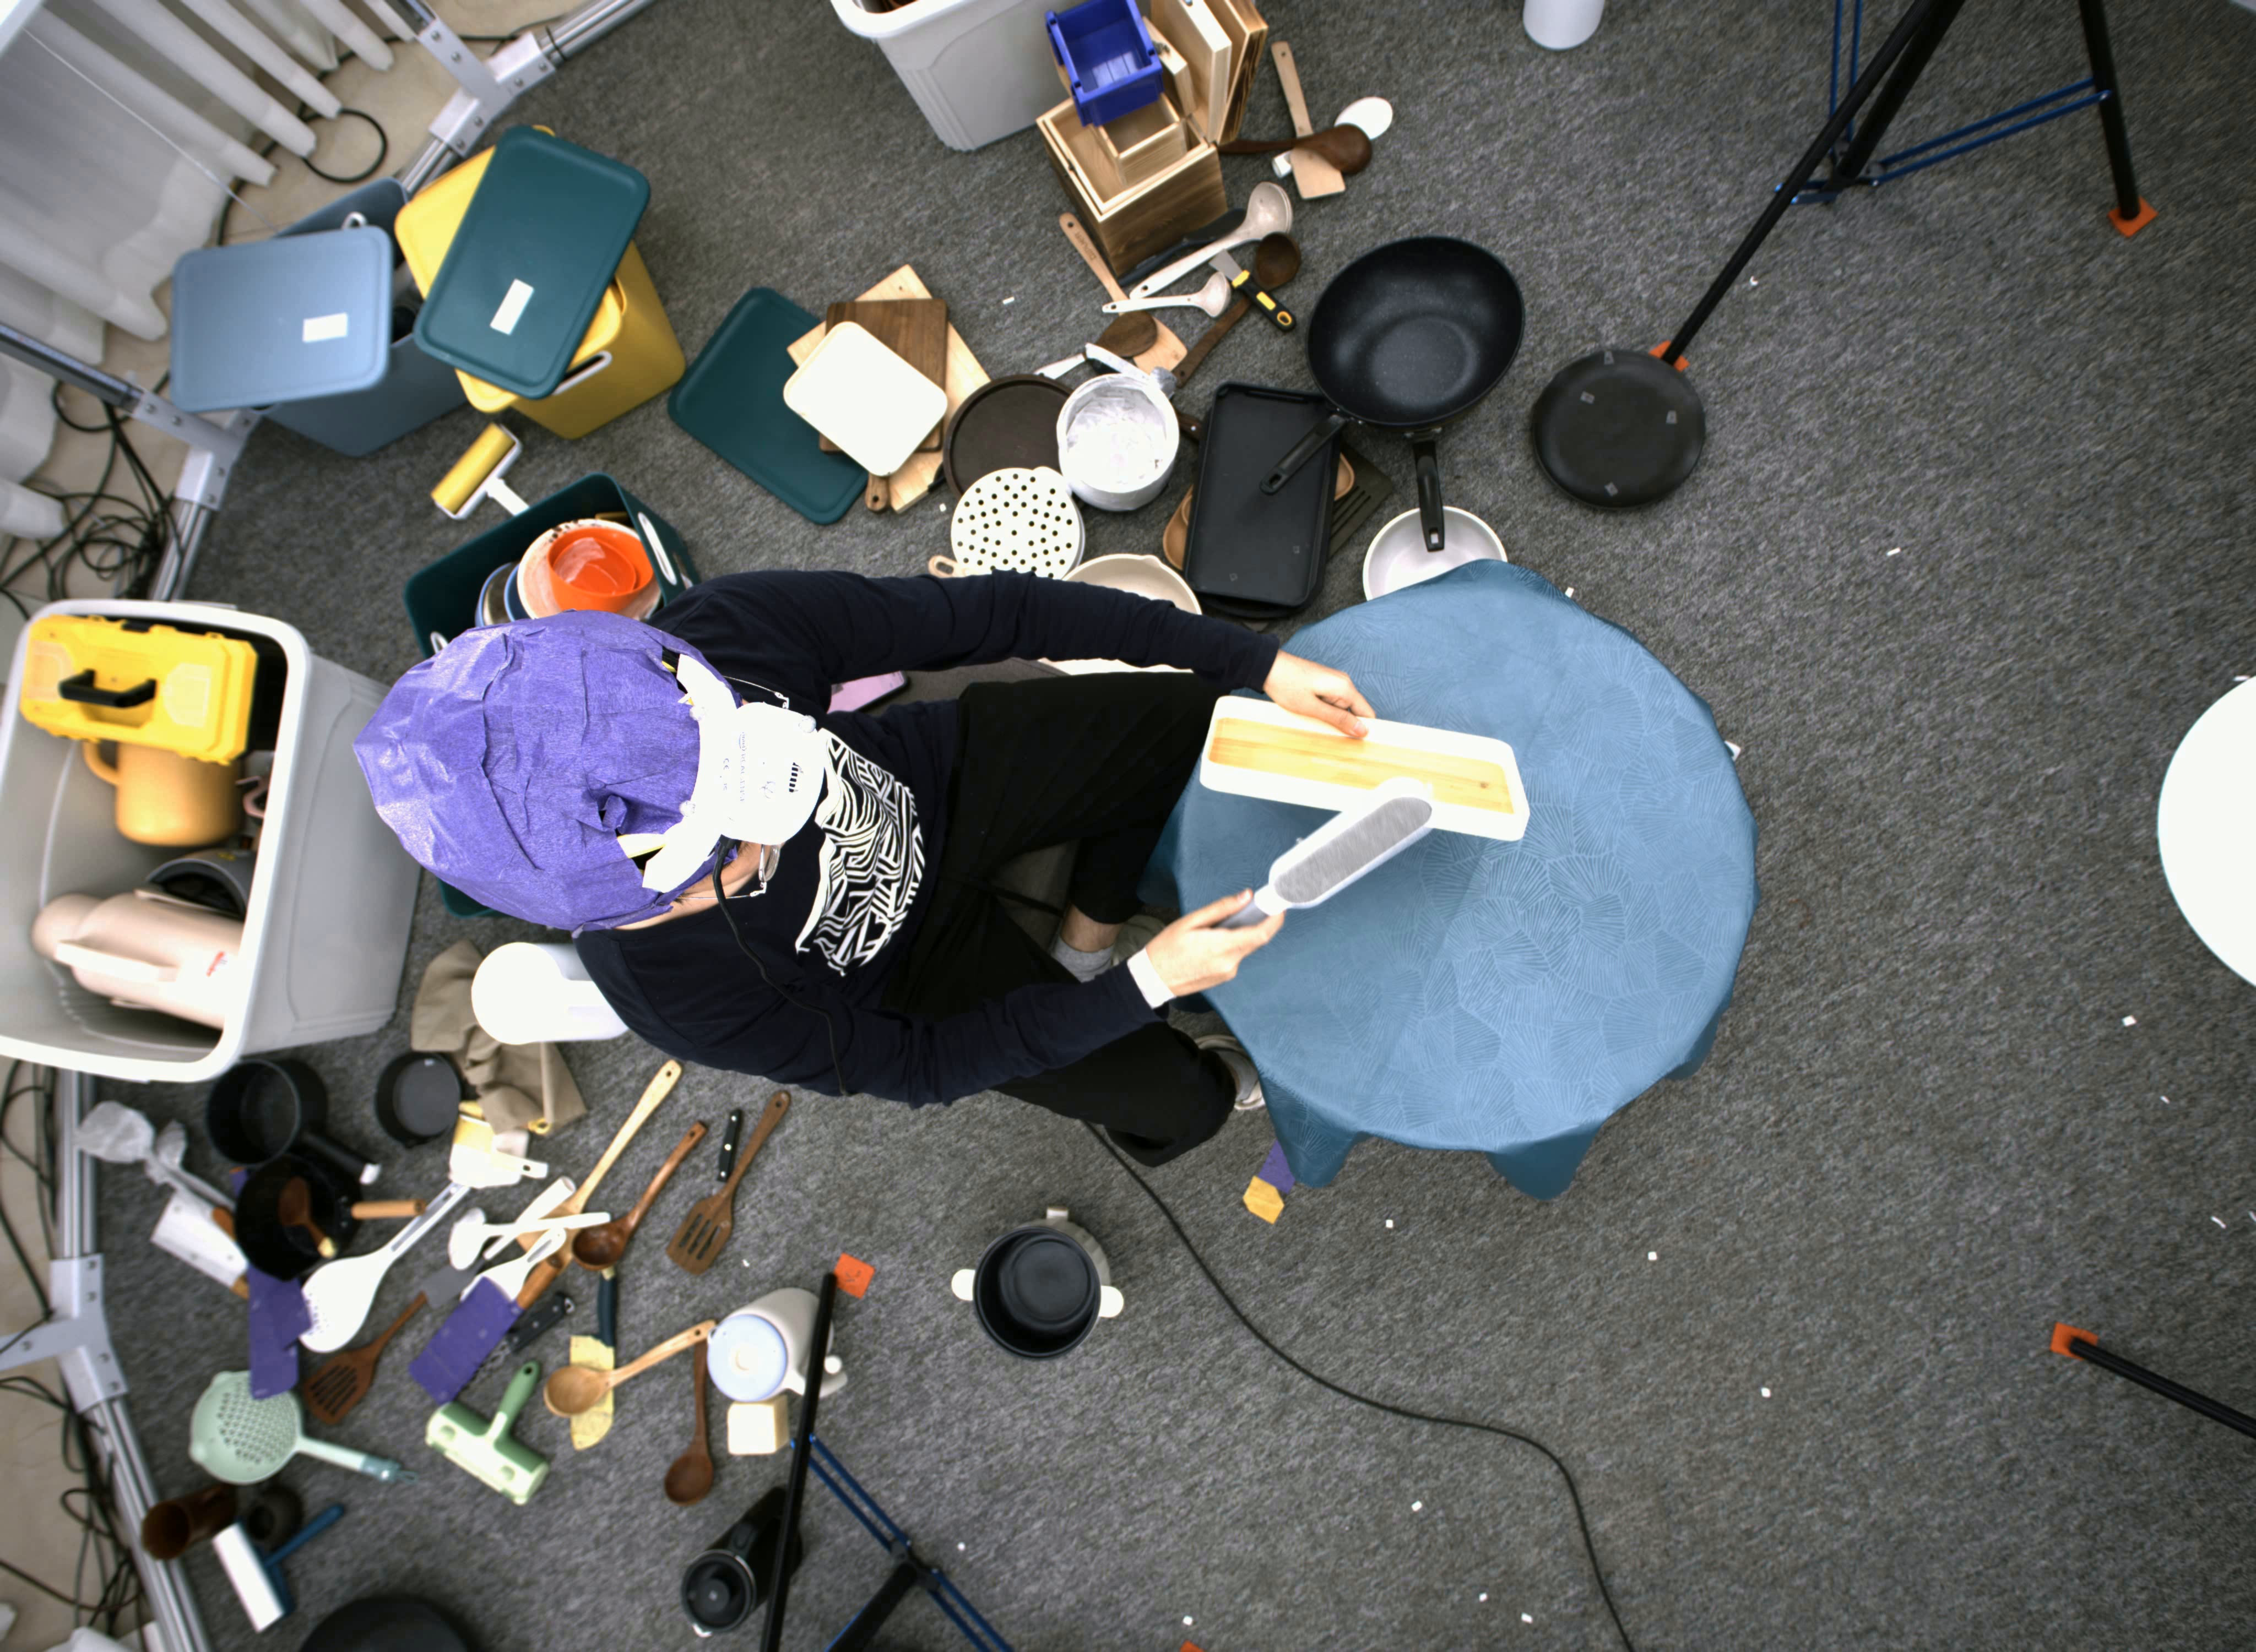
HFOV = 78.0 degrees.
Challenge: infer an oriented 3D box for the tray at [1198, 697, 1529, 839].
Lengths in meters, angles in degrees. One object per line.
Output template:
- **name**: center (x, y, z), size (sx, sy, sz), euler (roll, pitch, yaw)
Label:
- **tray**: center (0.223, -0.061, 1.317), size (0.301, 0.187, 0.028), euler (9, 116, 5)

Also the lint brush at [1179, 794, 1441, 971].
- **lint brush**: center (0.157, 0.057, 1.265), size (0.060, 0.020, 0.315), euler (32, 130, -27)
